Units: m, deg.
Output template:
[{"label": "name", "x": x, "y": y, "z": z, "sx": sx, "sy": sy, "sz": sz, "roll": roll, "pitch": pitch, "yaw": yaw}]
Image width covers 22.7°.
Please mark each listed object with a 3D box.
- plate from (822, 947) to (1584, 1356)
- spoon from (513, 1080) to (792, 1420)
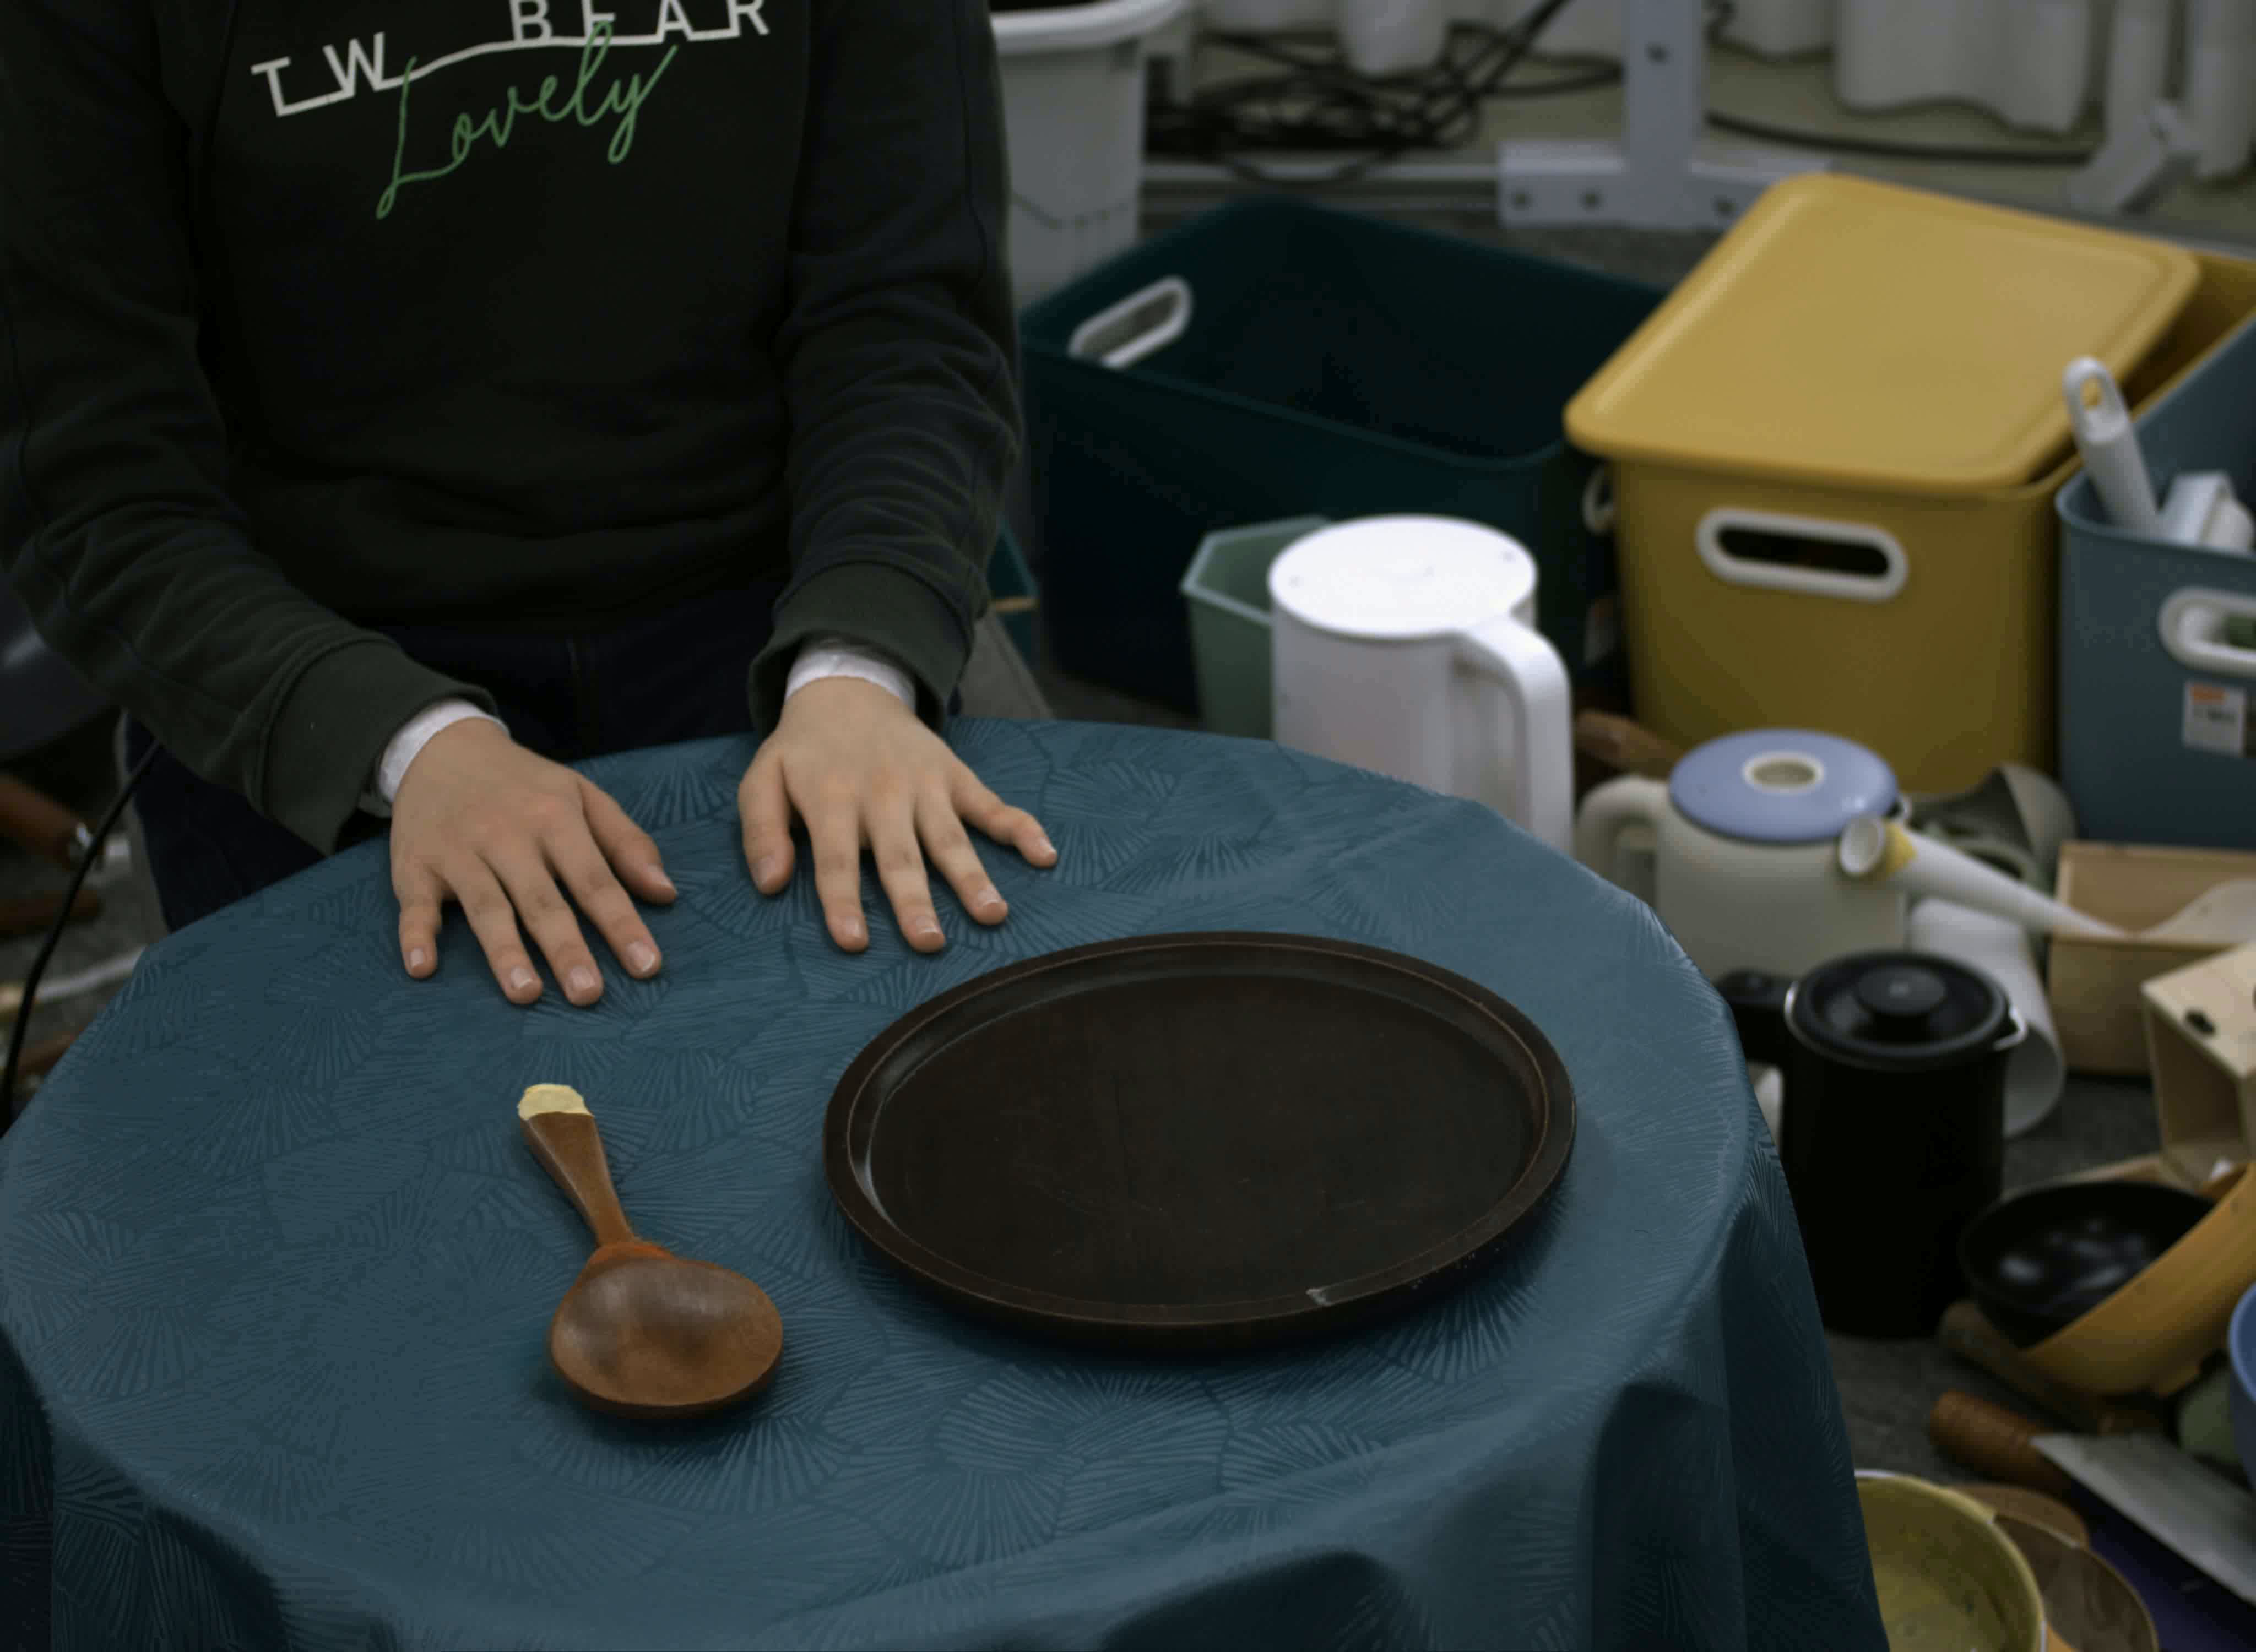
[{"label": "plate", "x": 0.025, "y": 0.105, "z": 1.866, "sx": 0.253, "sy": 0.029, "sz": 0.258, "roll": -1, "pitch": 27, "yaw": 1}, {"label": "spoon", "x": -0.165, "y": 0.138, "z": 1.826, "sx": 0.075, "sy": 0.017, "sz": 0.218, "roll": -11, "pitch": 29, "yaw": -15}]
